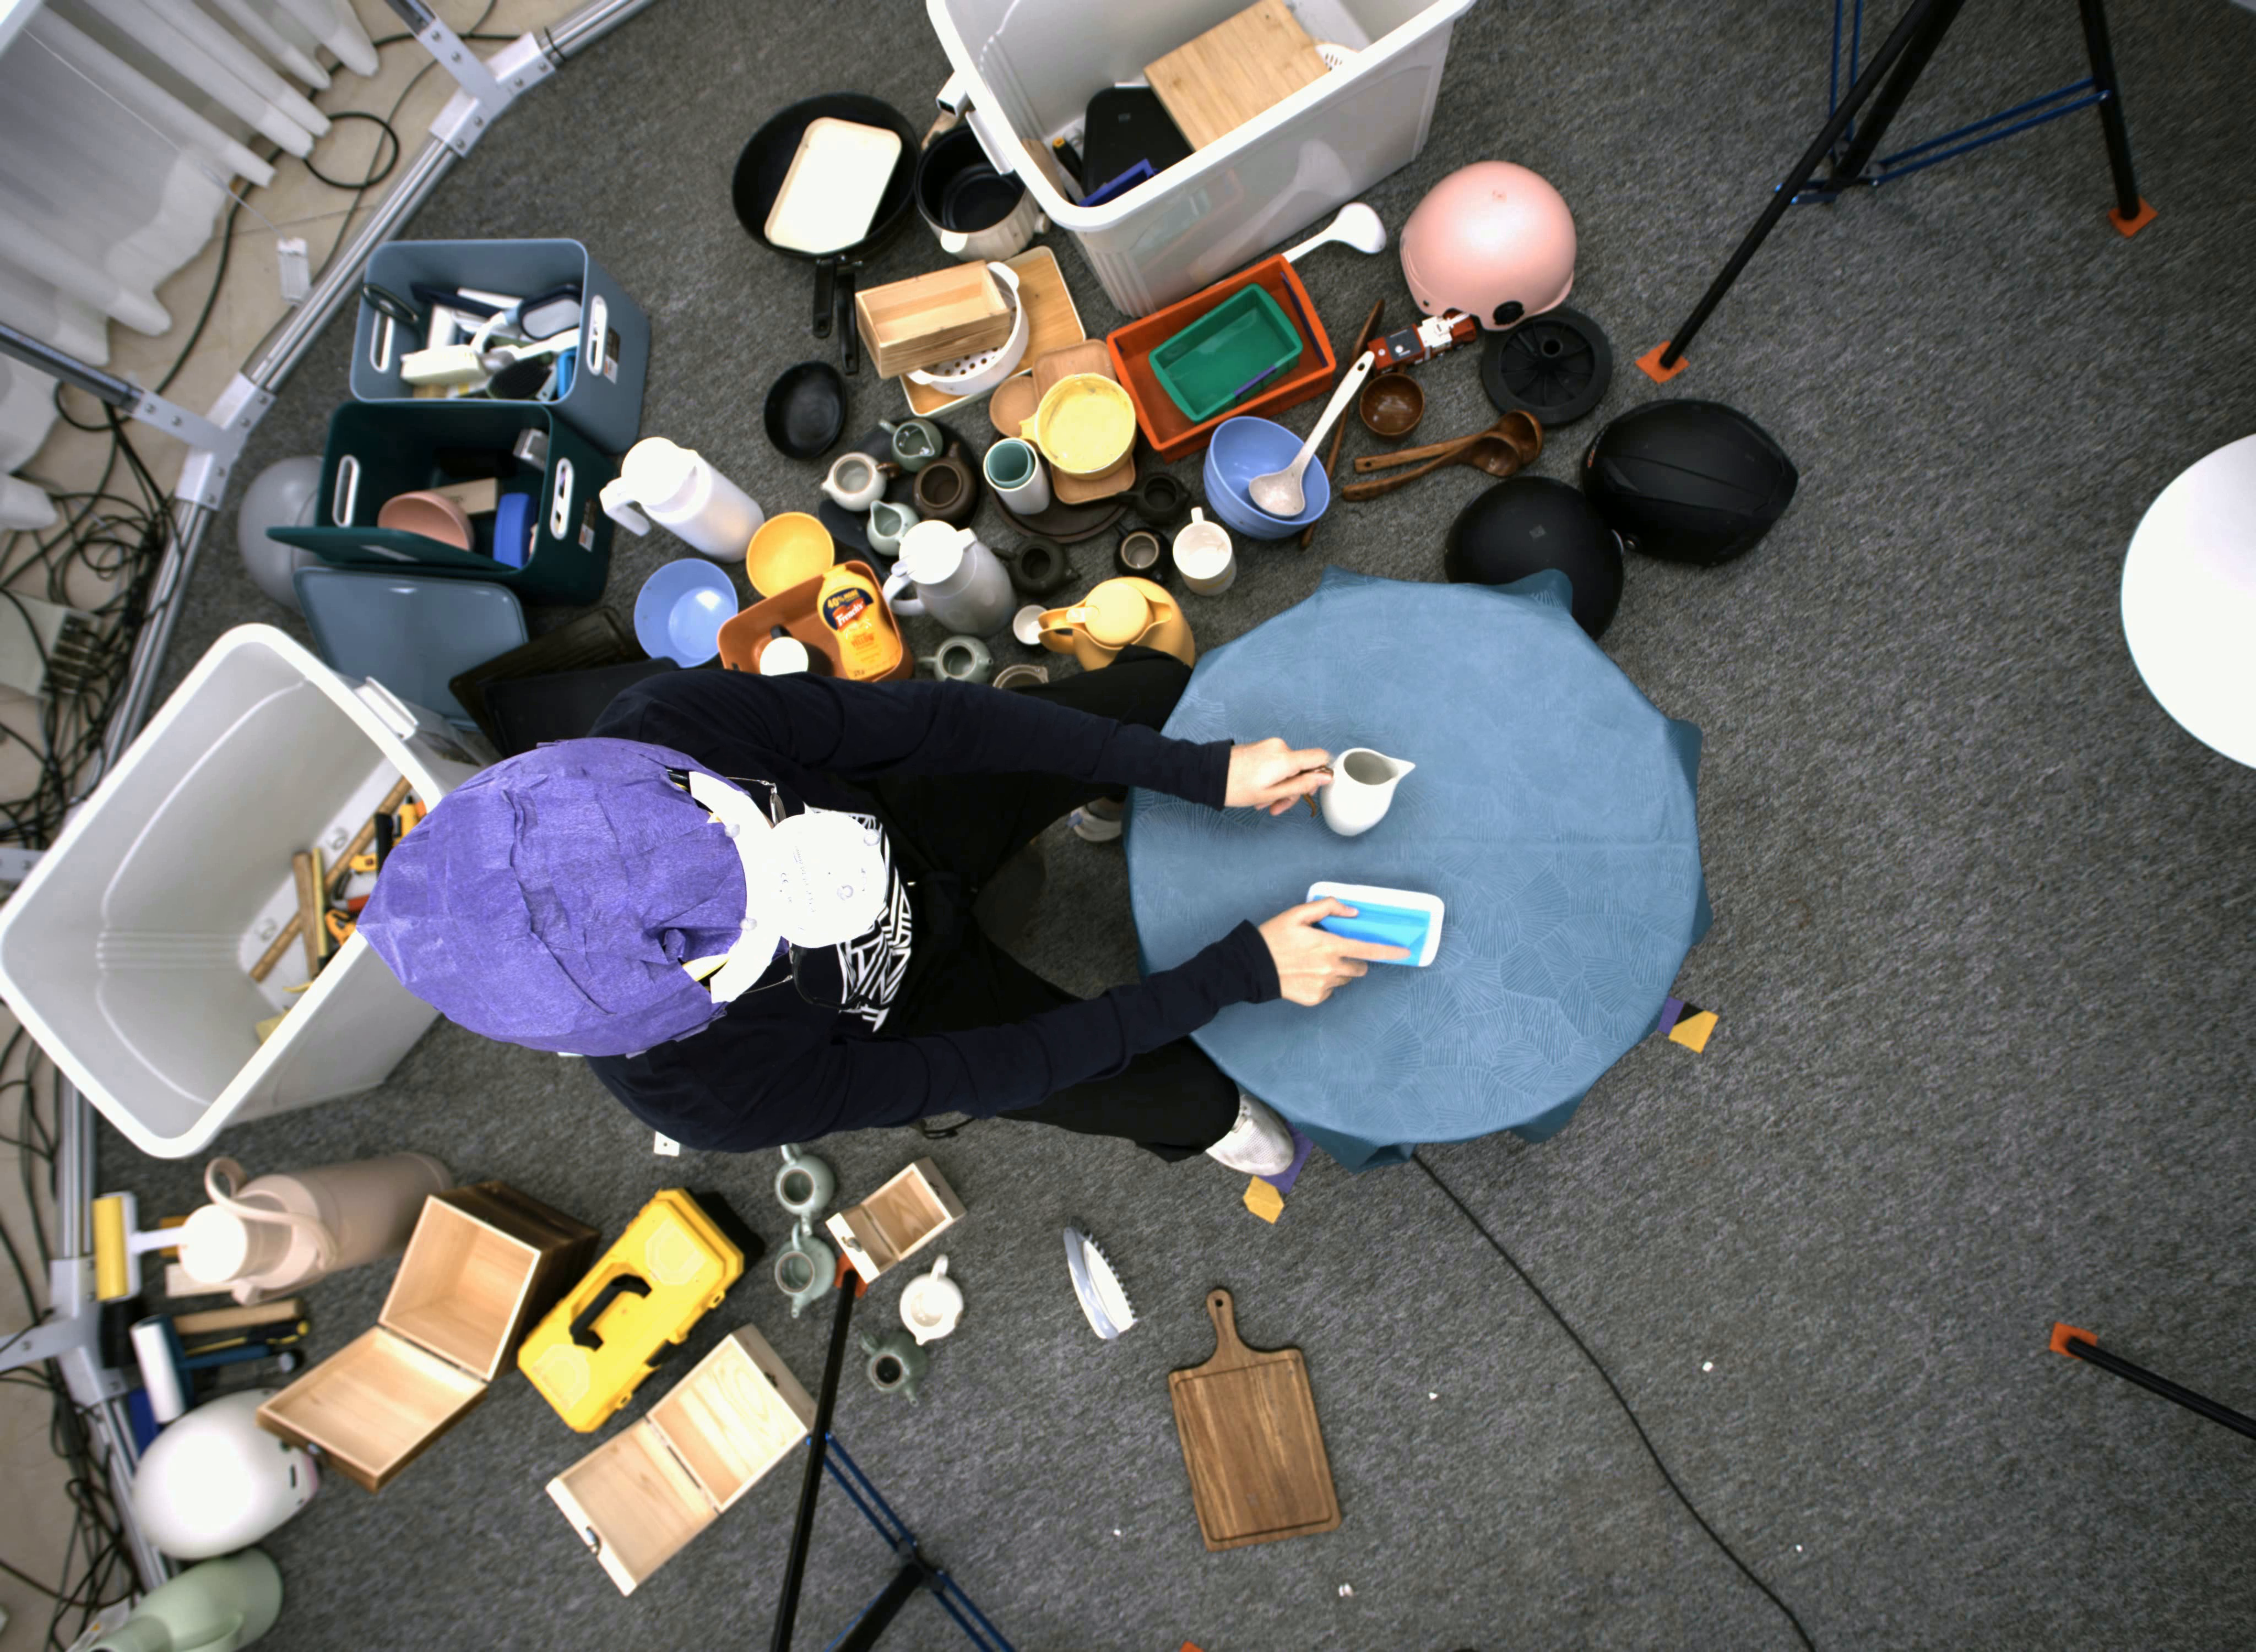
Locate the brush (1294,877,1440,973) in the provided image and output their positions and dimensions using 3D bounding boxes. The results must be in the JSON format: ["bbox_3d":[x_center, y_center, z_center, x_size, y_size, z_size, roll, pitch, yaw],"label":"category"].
[{"bbox_3d":[0.244,0.106,1.416,0.144,0.055,0.085,12,113,6],"label":"brush"}]

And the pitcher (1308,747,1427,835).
[{"bbox_3d":[0.236,-0.037,1.419,0.119,0.090,0.074,8,48,-12],"label":"pitcher"}]
